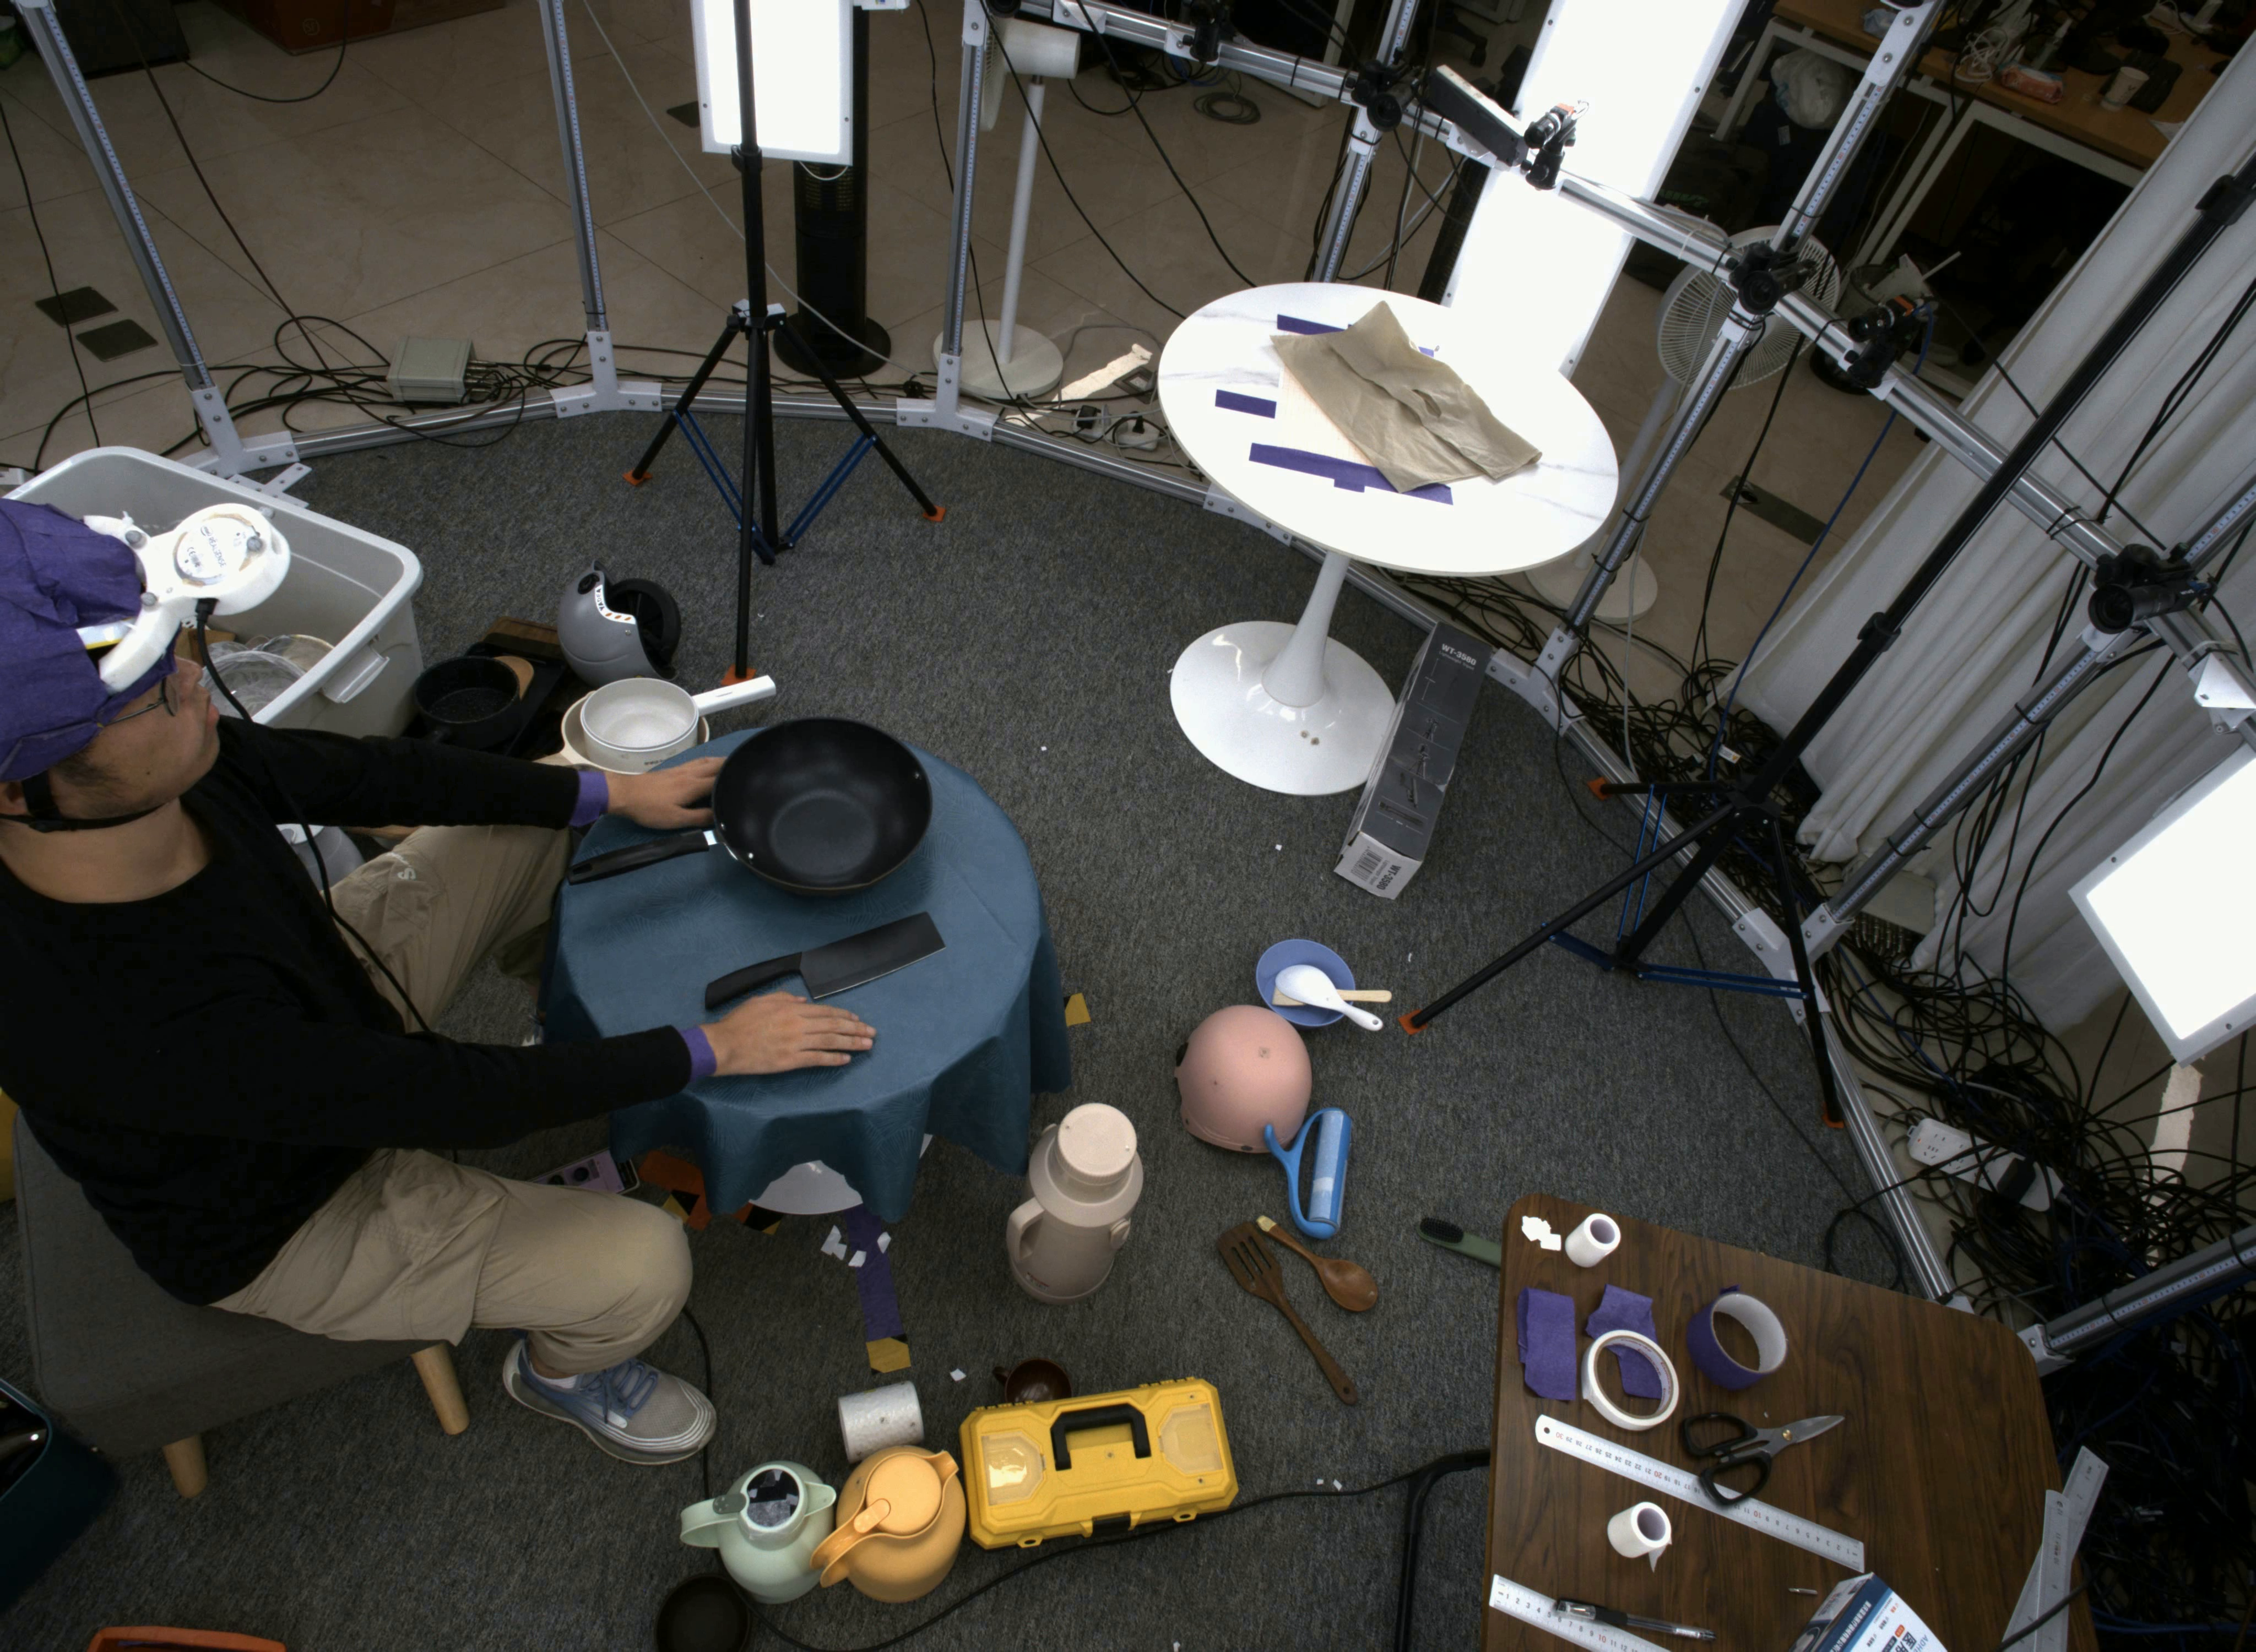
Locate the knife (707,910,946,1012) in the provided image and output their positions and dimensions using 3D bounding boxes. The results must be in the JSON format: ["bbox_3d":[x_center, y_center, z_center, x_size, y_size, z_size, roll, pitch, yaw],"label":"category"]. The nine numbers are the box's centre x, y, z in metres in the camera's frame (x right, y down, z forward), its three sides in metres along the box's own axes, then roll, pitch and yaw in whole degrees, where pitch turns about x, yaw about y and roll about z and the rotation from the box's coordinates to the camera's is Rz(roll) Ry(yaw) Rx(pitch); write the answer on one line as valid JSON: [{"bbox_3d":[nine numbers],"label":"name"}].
[{"bbox_3d":[-0.371,0.170,1.599,0.304,0.021,0.079,-15,60,-26],"label":"knife"}]

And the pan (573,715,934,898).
[{"bbox_3d":[-0.472,0.013,1.646,0.465,0.088,0.281,-19,60,-25],"label":"pan"}]
